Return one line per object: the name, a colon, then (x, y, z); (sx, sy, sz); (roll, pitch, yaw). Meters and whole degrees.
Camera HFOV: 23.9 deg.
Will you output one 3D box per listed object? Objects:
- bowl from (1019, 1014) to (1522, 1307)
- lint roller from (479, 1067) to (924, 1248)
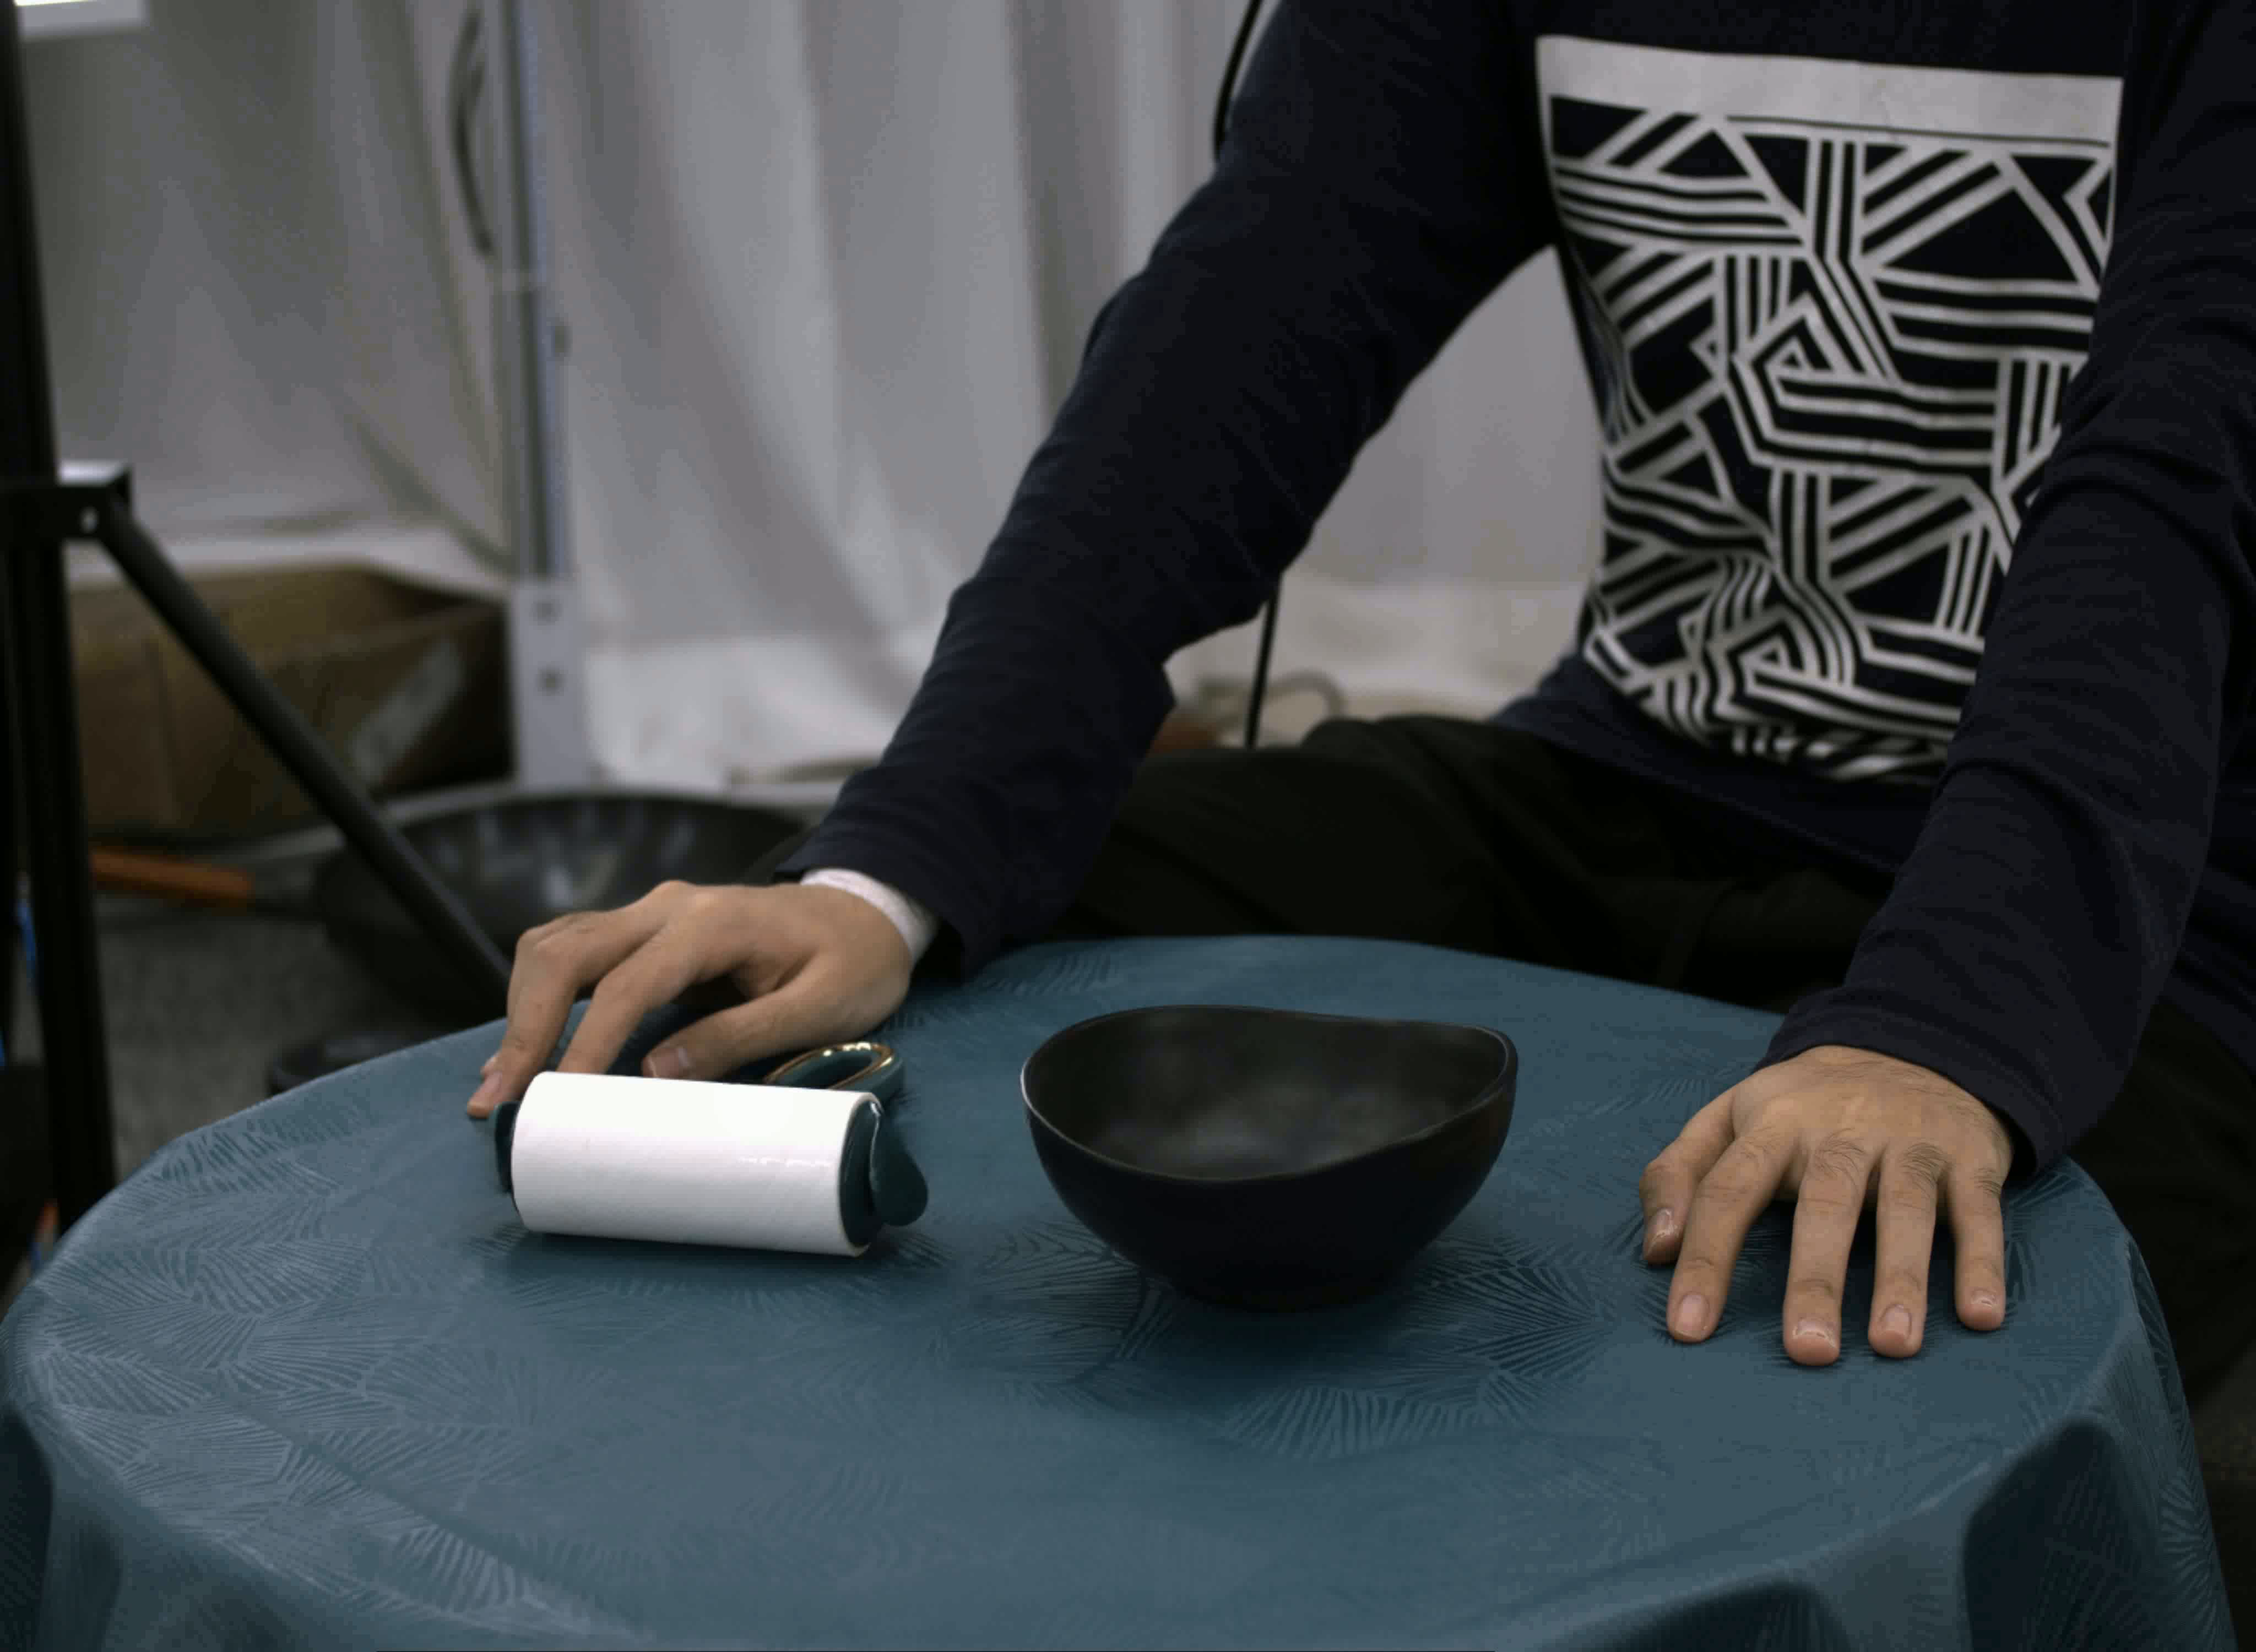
bowl: (0.042, 0.094, 1.483); (0.139, 0.067, 0.168); (3, 15, 20)
lint roller: (-0.105, 0.084, 1.596); (0.135, 0.048, 0.178); (2, 11, 17)
